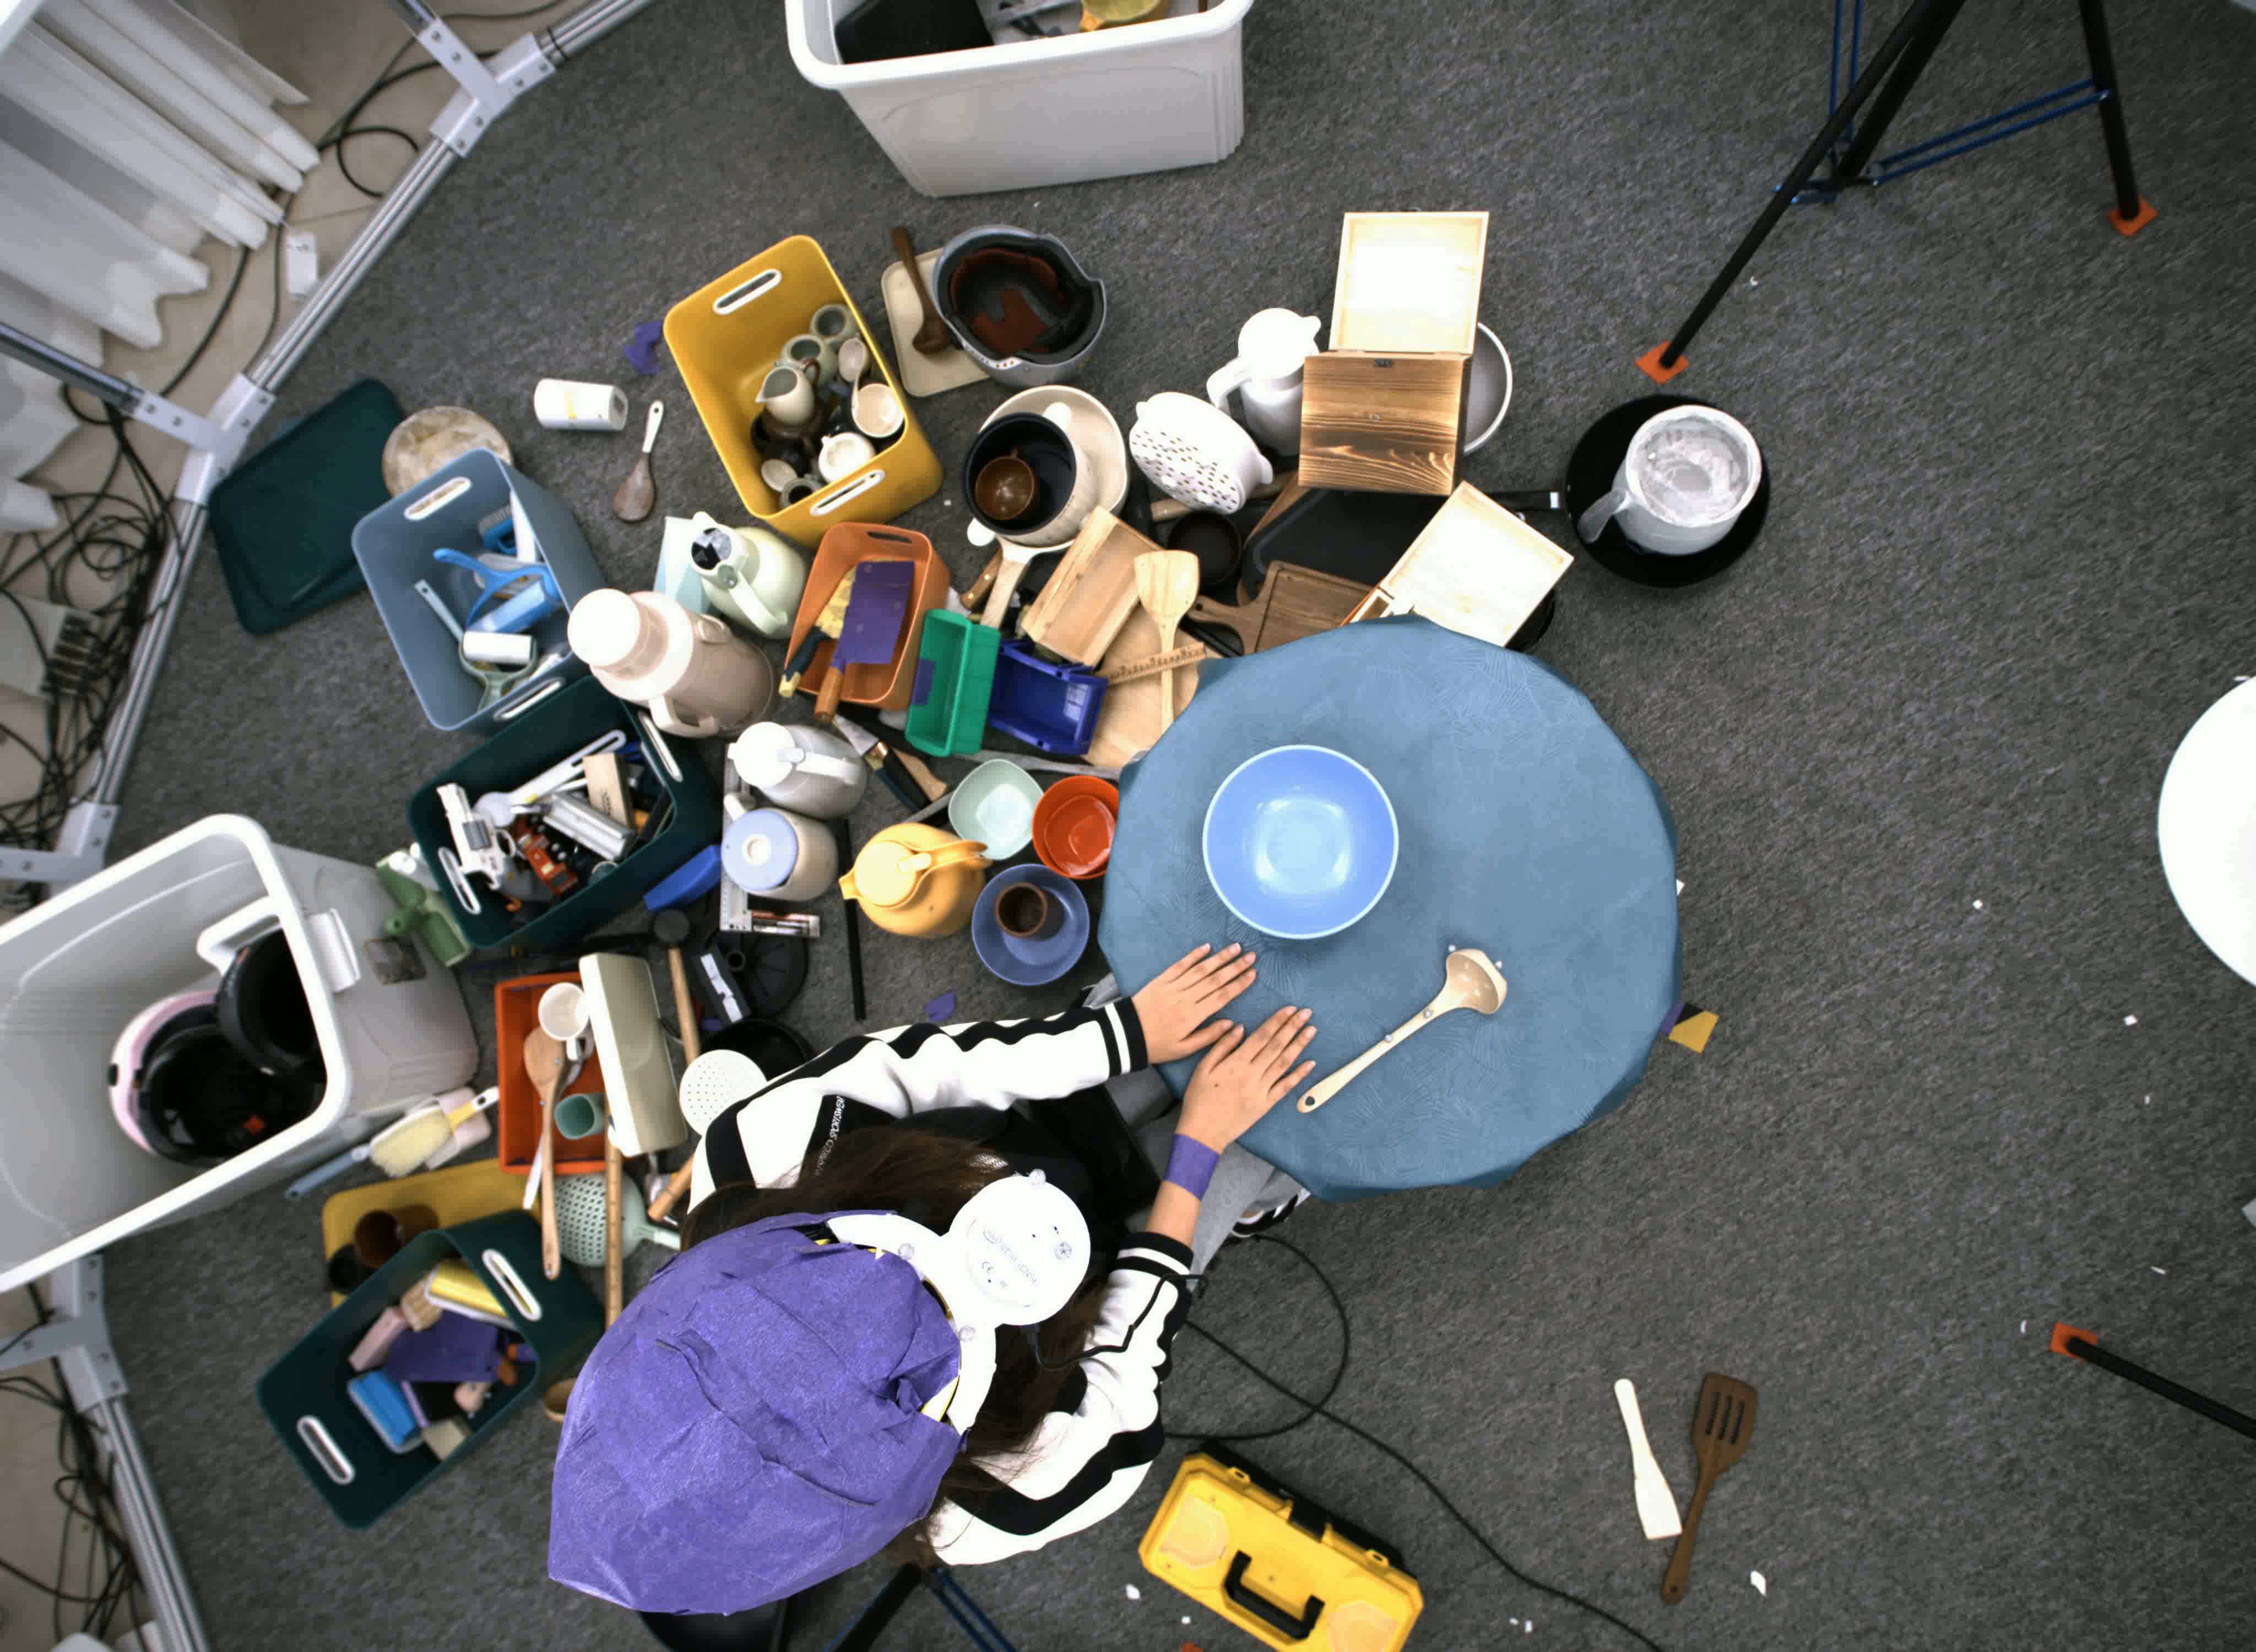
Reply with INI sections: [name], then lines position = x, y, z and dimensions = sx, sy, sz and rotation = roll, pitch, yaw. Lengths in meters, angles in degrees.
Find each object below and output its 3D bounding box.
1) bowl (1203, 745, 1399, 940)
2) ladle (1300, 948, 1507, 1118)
[bowl]
position = 0.181, 0.019, 1.435
dimensions = 0.197, 0.095, 0.196
rotation = -1, 87, 10
[ladle]
position = 0.275, 0.219, 1.414
dimensions = 0.256, 0.073, 0.072
rotation = -39, 79, 6
